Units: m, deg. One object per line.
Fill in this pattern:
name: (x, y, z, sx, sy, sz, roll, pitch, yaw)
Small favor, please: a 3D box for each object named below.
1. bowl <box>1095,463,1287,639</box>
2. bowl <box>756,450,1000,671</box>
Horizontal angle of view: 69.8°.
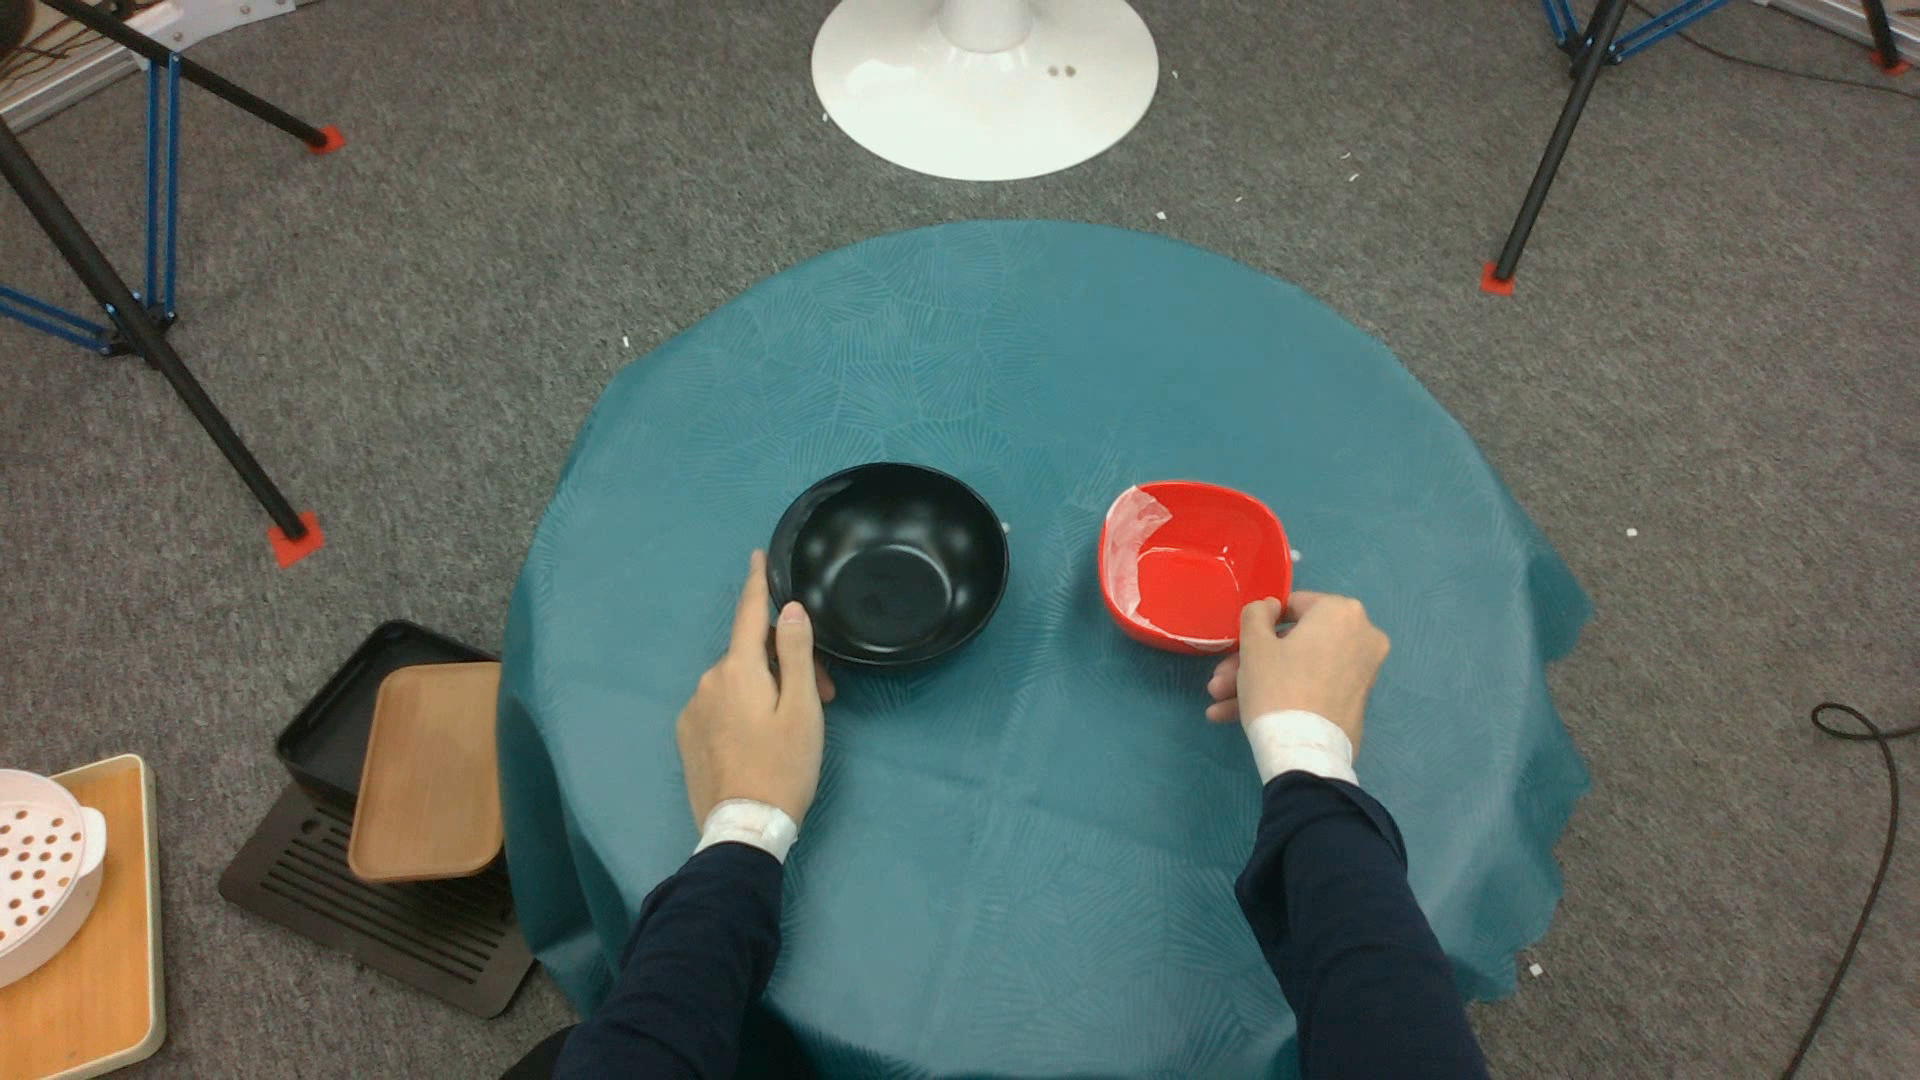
bowl: (0.127, 0.015, 0.795, 0.119, 0.051, 0.119, 6, 53, -7)
bowl: (-0.047, 0.019, 0.800, 0.140, 0.049, 0.140, 1, 61, -1)
